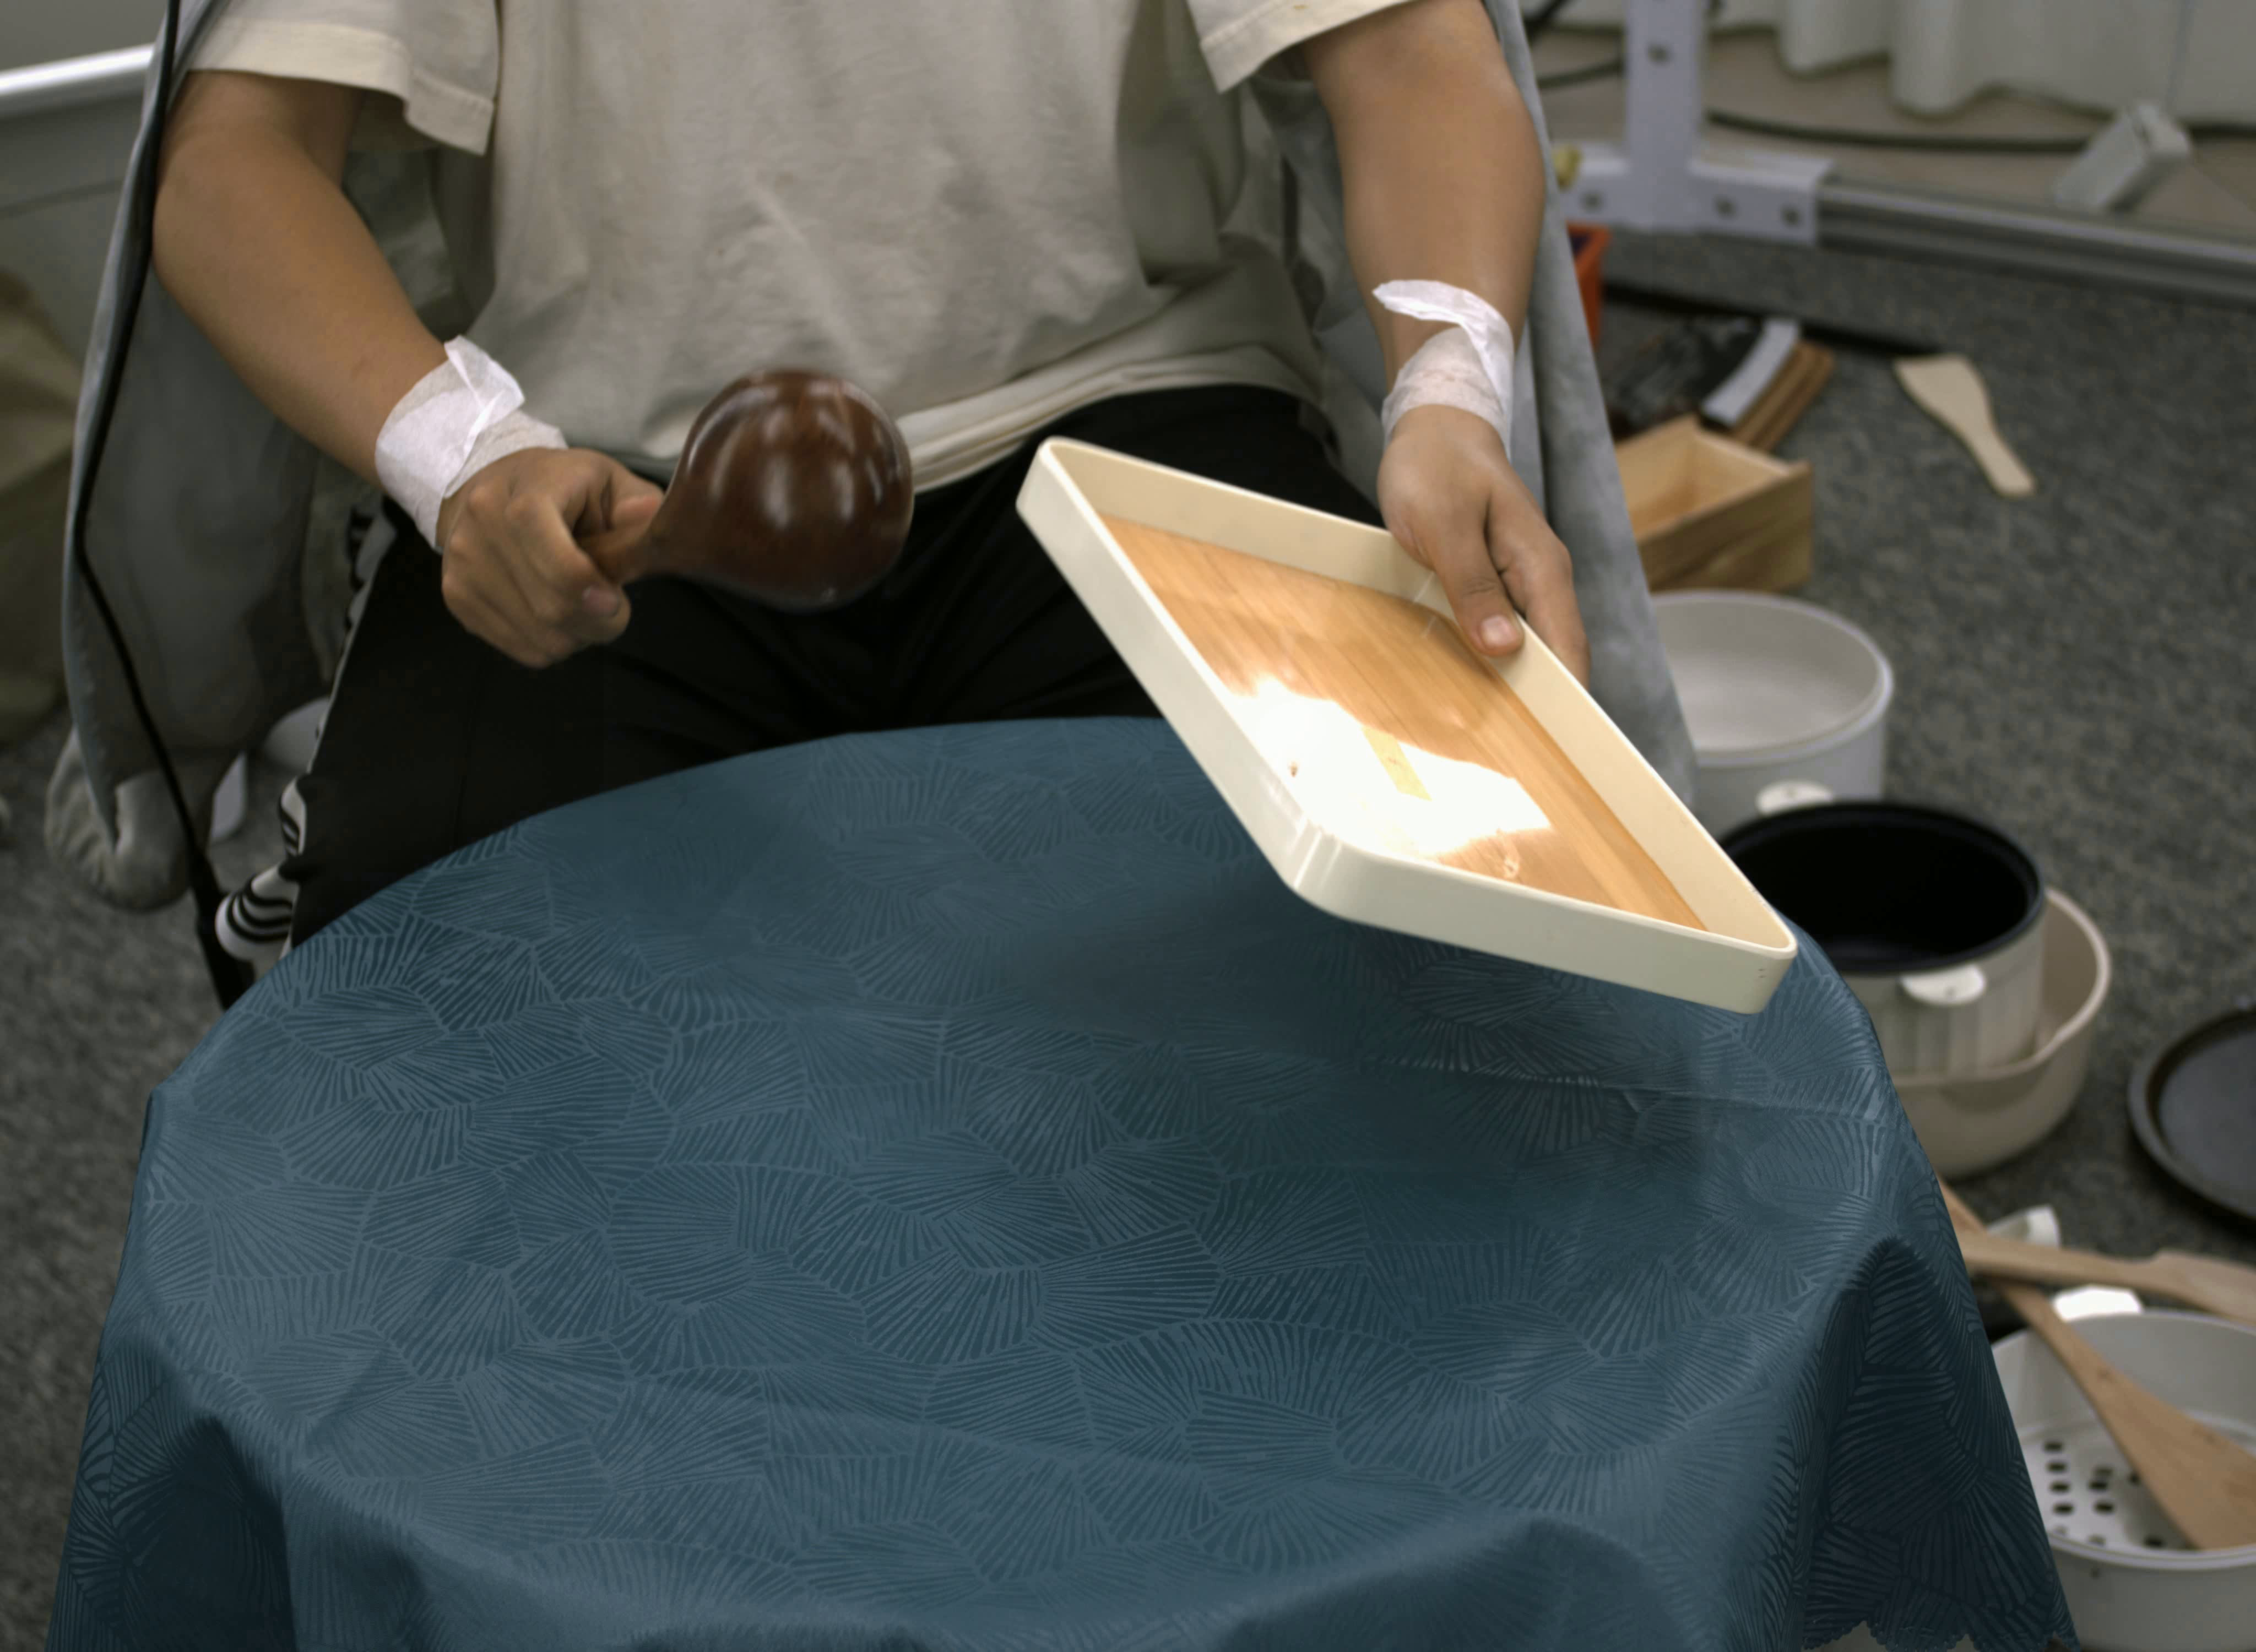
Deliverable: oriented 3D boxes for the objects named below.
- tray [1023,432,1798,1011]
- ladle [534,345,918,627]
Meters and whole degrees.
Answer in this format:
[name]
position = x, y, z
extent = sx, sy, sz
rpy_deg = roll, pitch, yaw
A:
[tray]
position = 0.090, -0.038, 1.911
extent = 0.191, 0.027, 0.303
rpy_deg = 15, 22, -28
[ladle]
position = -0.143, -0.109, 1.950
extent = 0.077, 0.082, 0.272
rpy_deg = -20, 2, -18
